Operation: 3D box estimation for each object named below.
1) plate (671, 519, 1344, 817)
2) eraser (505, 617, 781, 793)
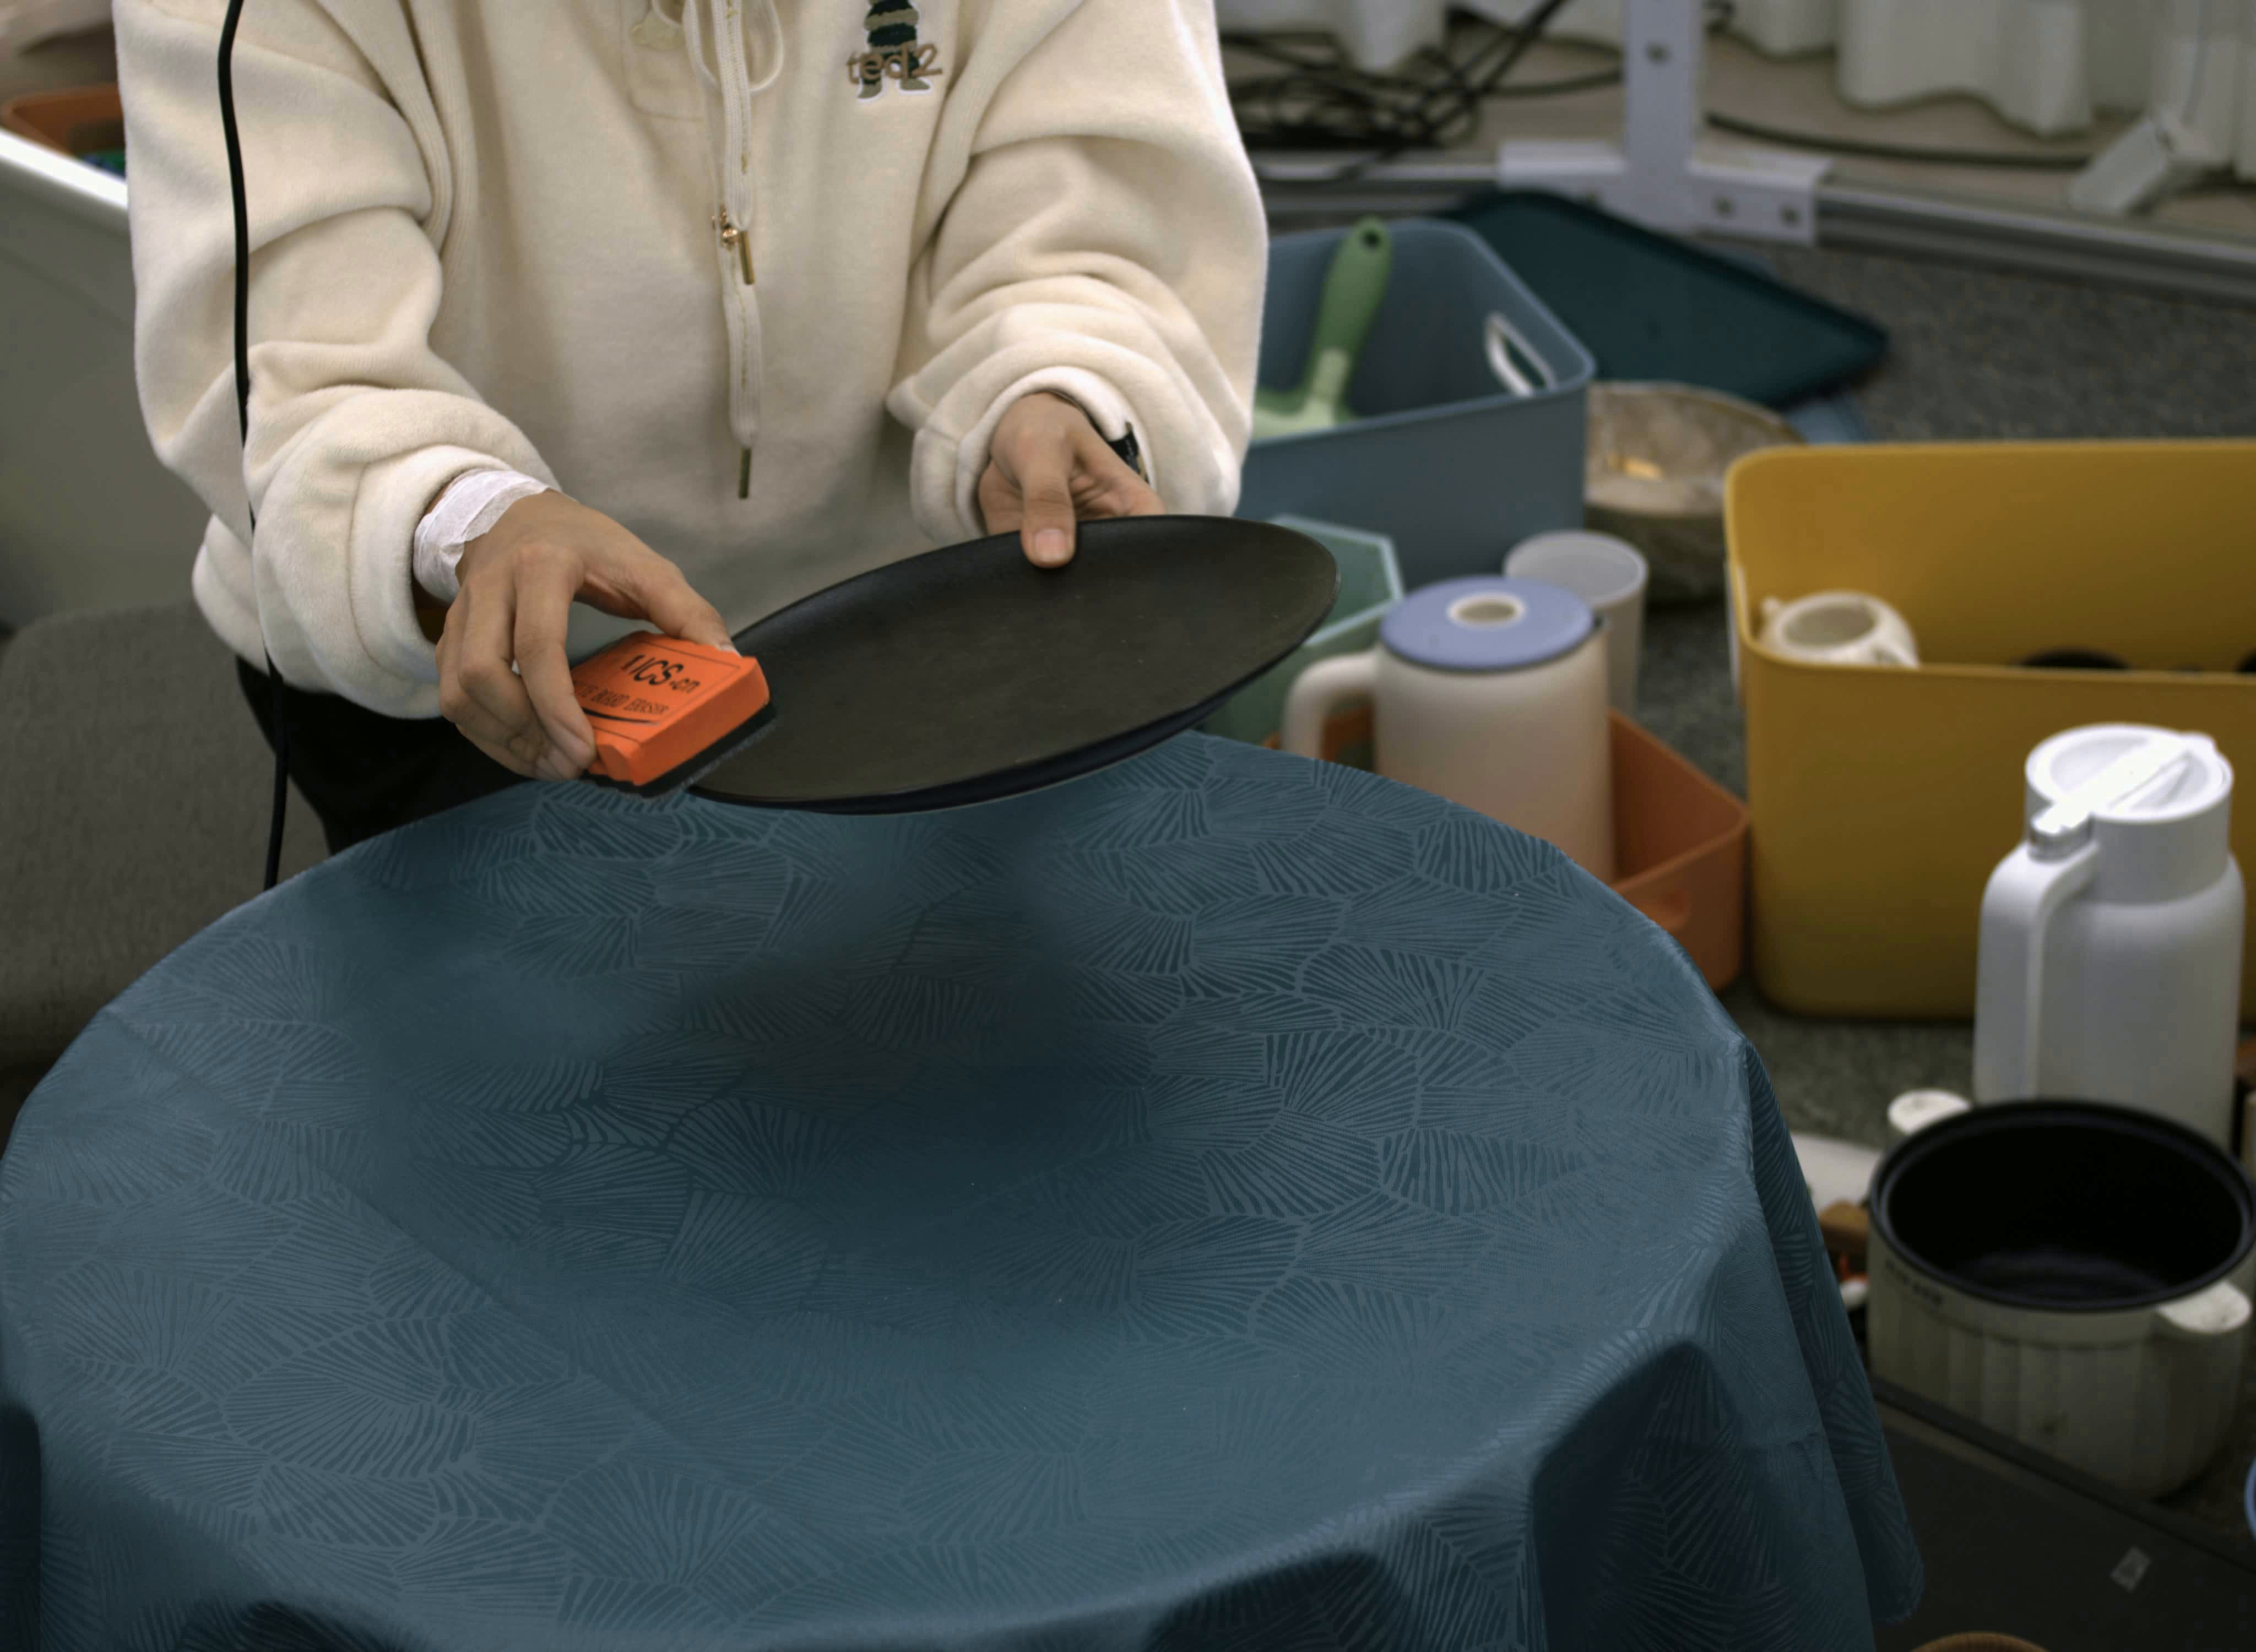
[{"bbox_3d":[-0.043,-0.050,1.904,0.243,0.023,0.247,-12,20,5],"label":"plate"},{"bbox_3d":[-0.163,-0.041,1.887,0.059,0.023,0.108,-36,25,-20],"label":"eraser"}]
